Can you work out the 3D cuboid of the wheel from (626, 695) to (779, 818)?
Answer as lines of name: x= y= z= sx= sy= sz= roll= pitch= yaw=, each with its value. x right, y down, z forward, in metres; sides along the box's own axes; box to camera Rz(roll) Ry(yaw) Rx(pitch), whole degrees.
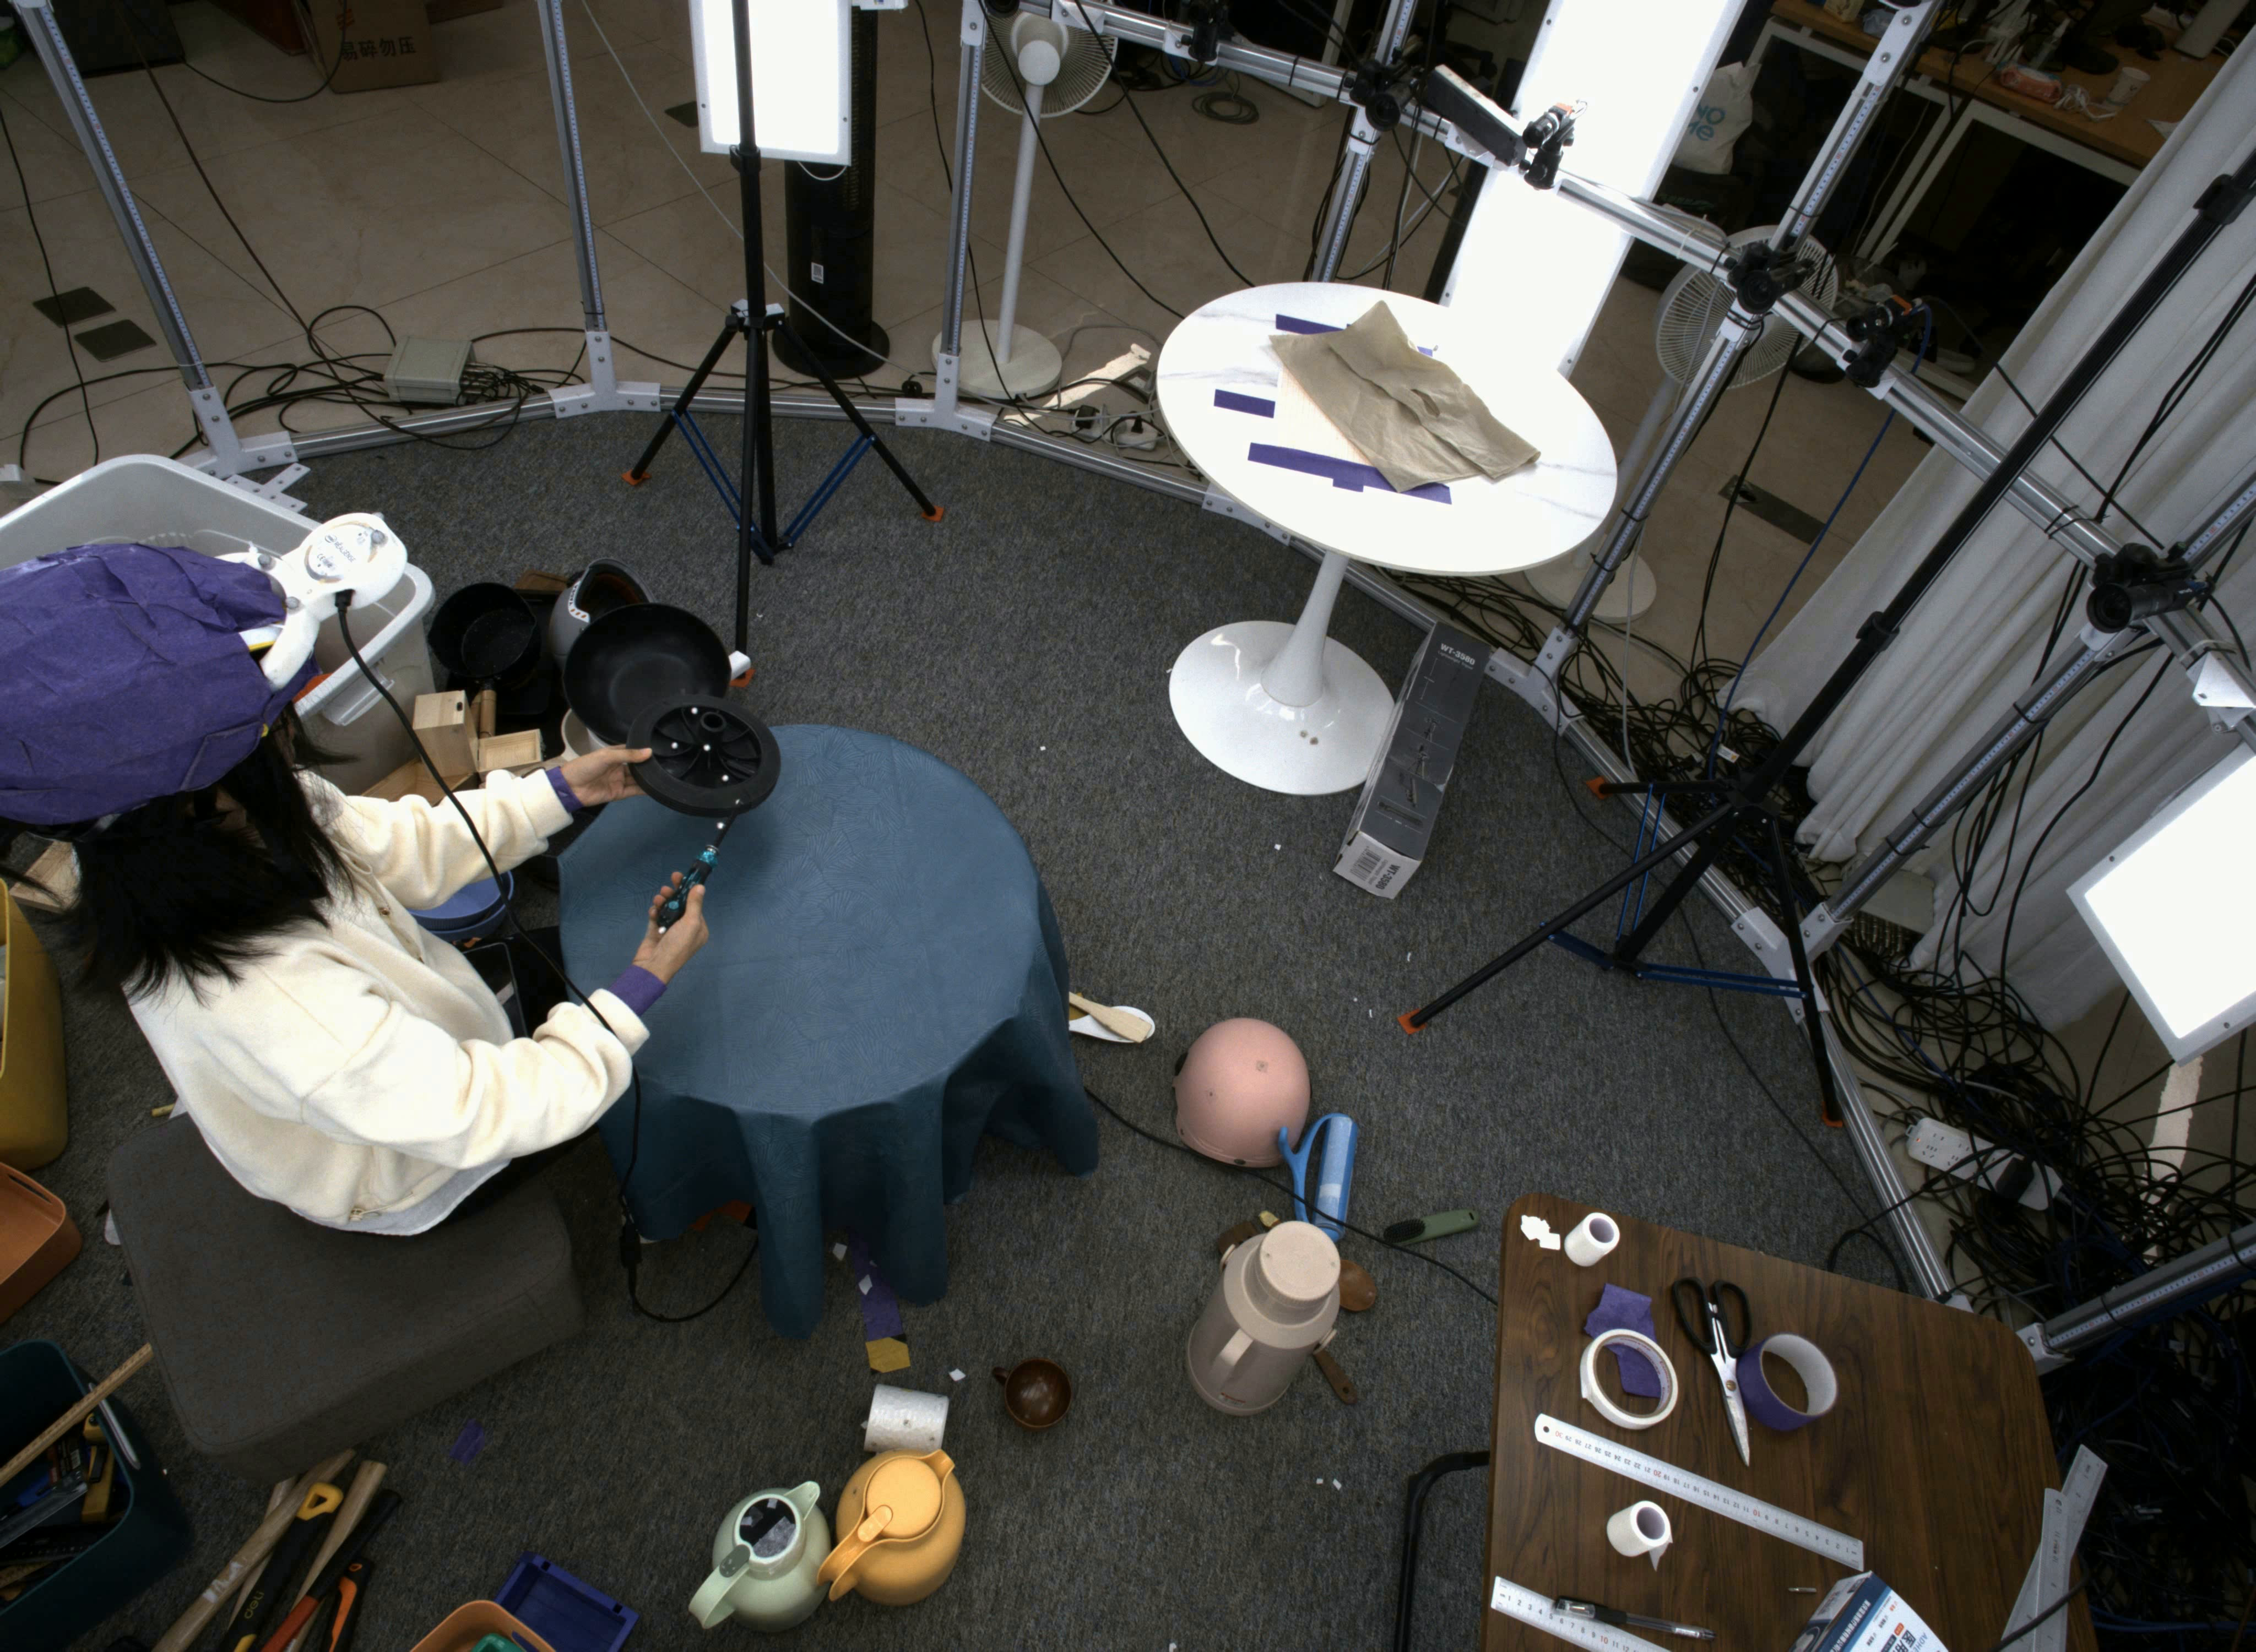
wheel: x=-0.520 y=-0.103 z=1.584 sx=0.193 sy=0.080 sz=0.183 roll=7 pitch=49 yaw=-29

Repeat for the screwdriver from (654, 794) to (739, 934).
screwdriver: x=-0.483 y=0.036 z=1.457 sx=0.033 sy=0.034 sz=0.188 roll=19 pitch=57 yaw=2
